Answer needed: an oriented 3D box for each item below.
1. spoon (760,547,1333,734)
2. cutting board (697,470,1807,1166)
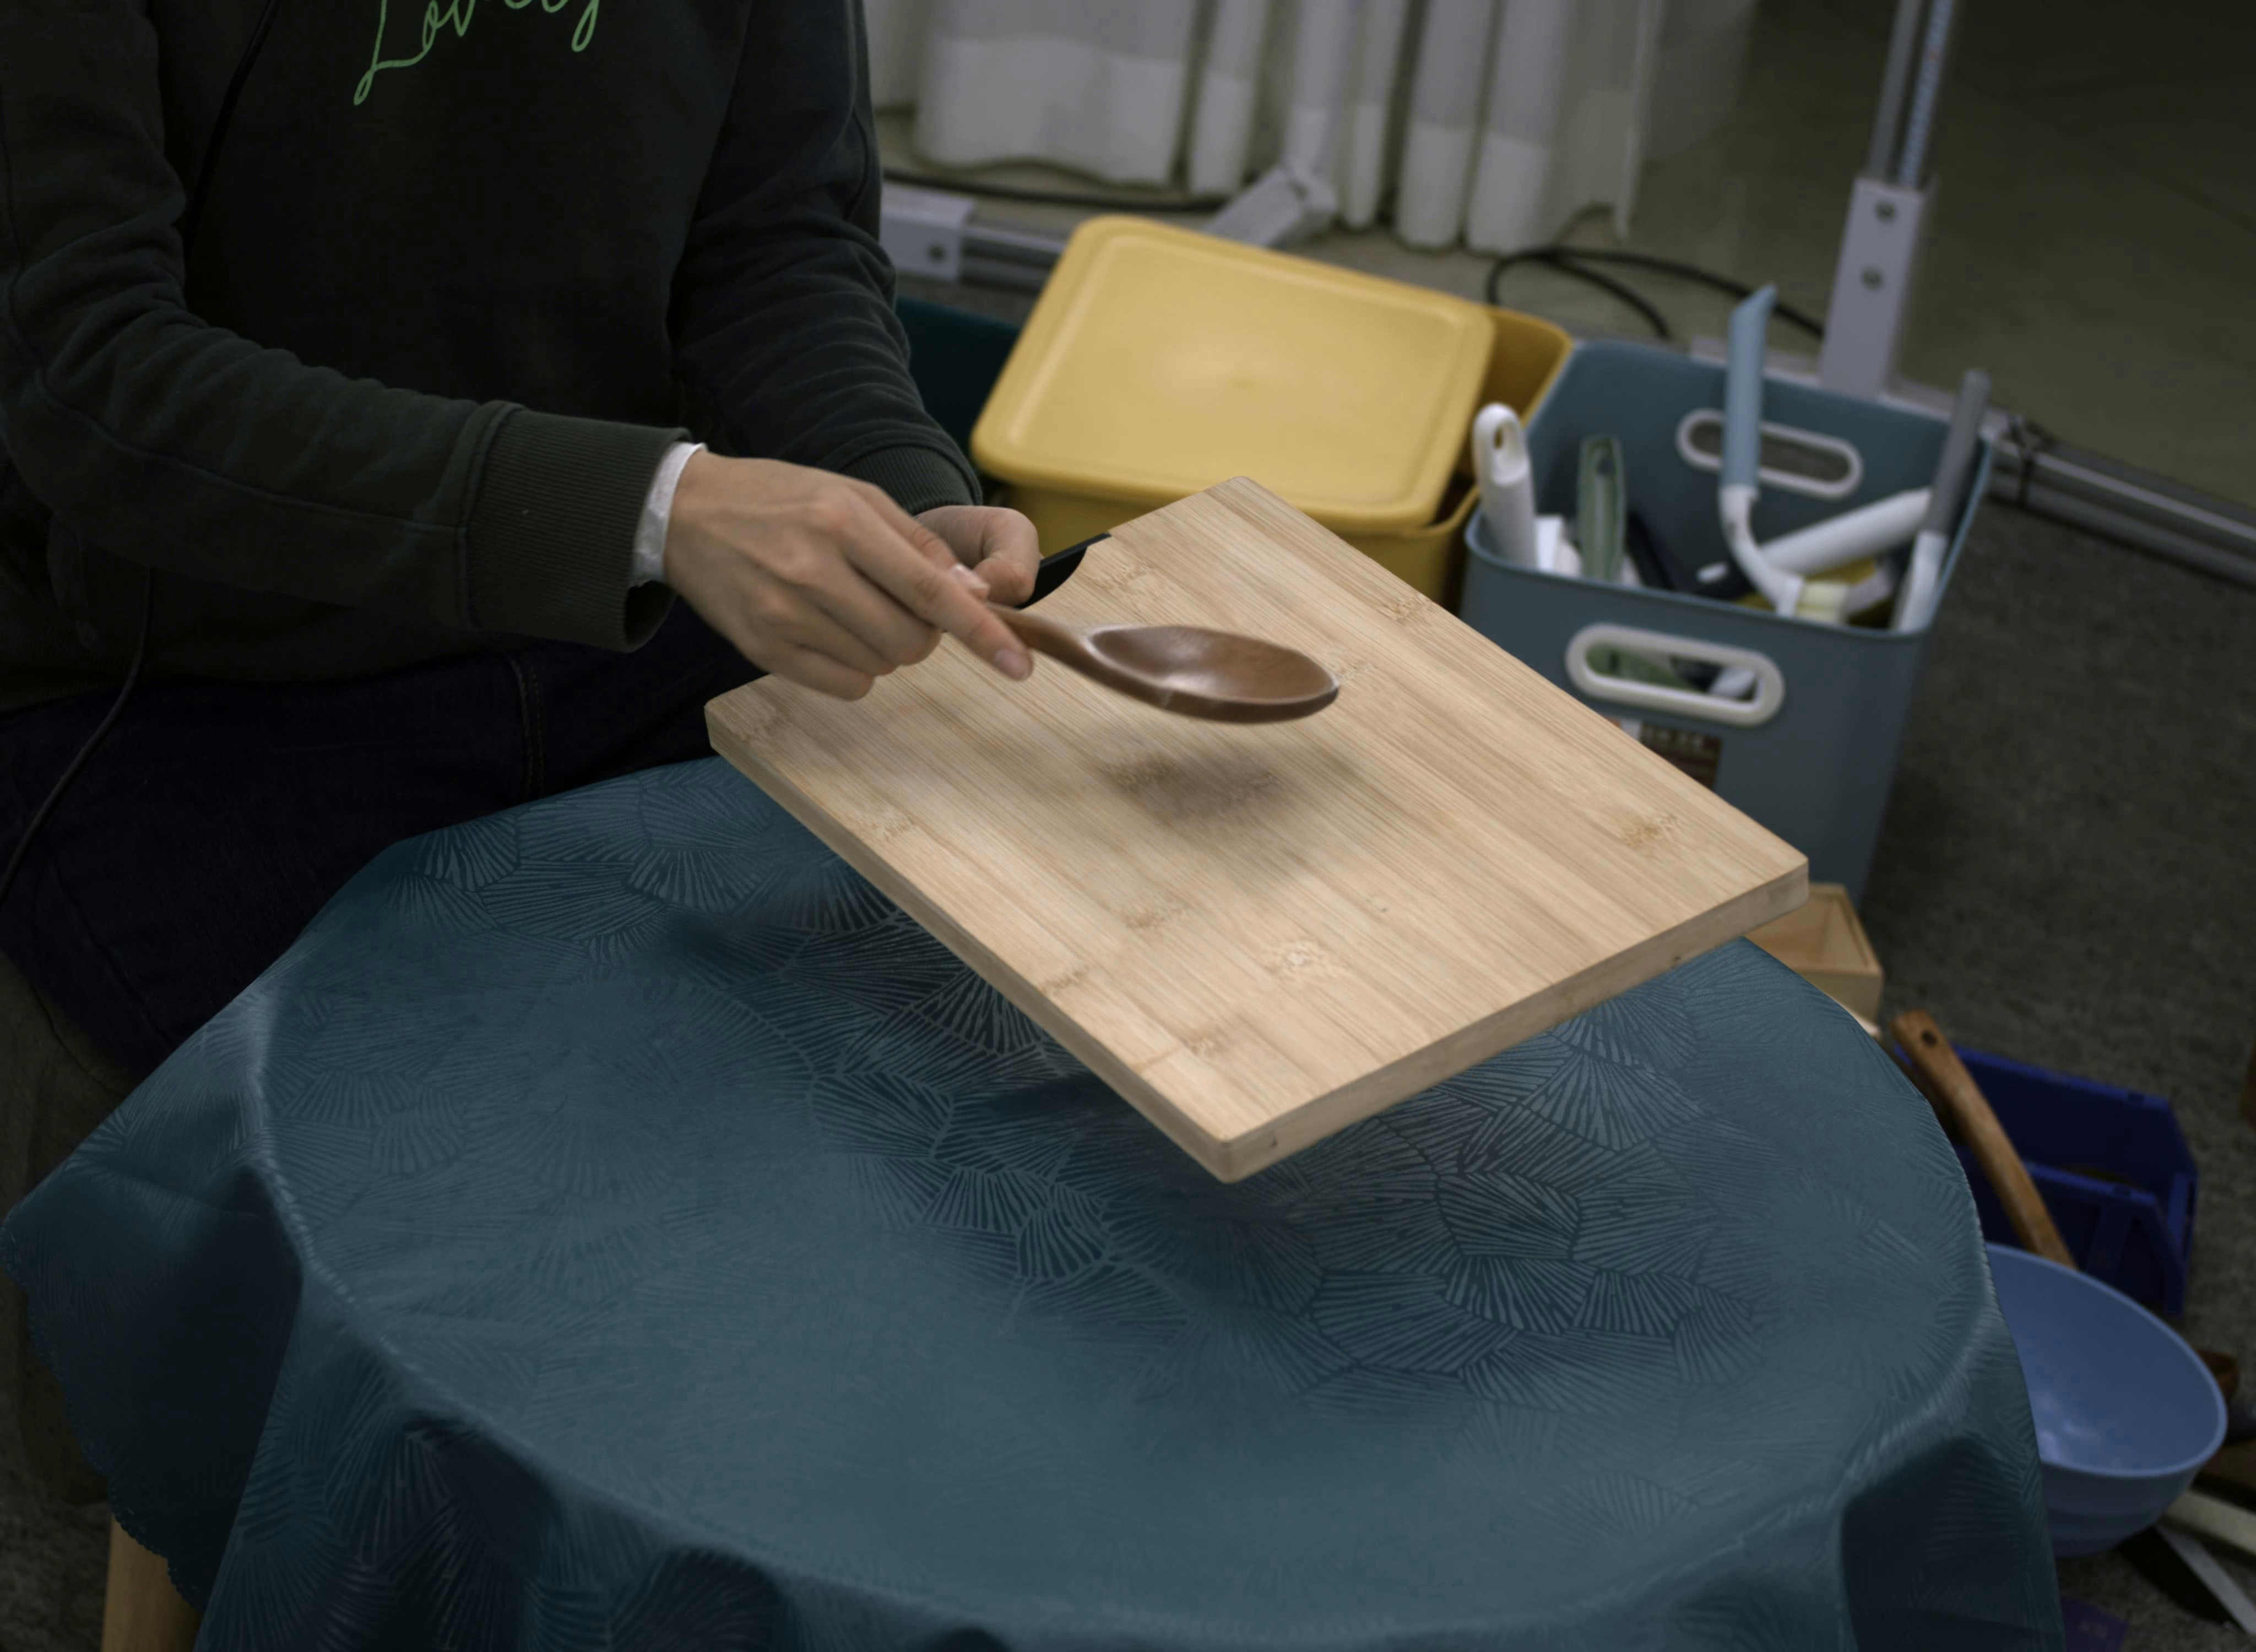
[{"bbox_3d":[-0.031,-0.064,1.845,0.216,0.017,0.075,16,24,21],"label":"spoon"},{"bbox_3d":[0.035,-0.012,1.859,0.250,0.023,0.352,-24,37,-25],"label":"cutting board"}]
